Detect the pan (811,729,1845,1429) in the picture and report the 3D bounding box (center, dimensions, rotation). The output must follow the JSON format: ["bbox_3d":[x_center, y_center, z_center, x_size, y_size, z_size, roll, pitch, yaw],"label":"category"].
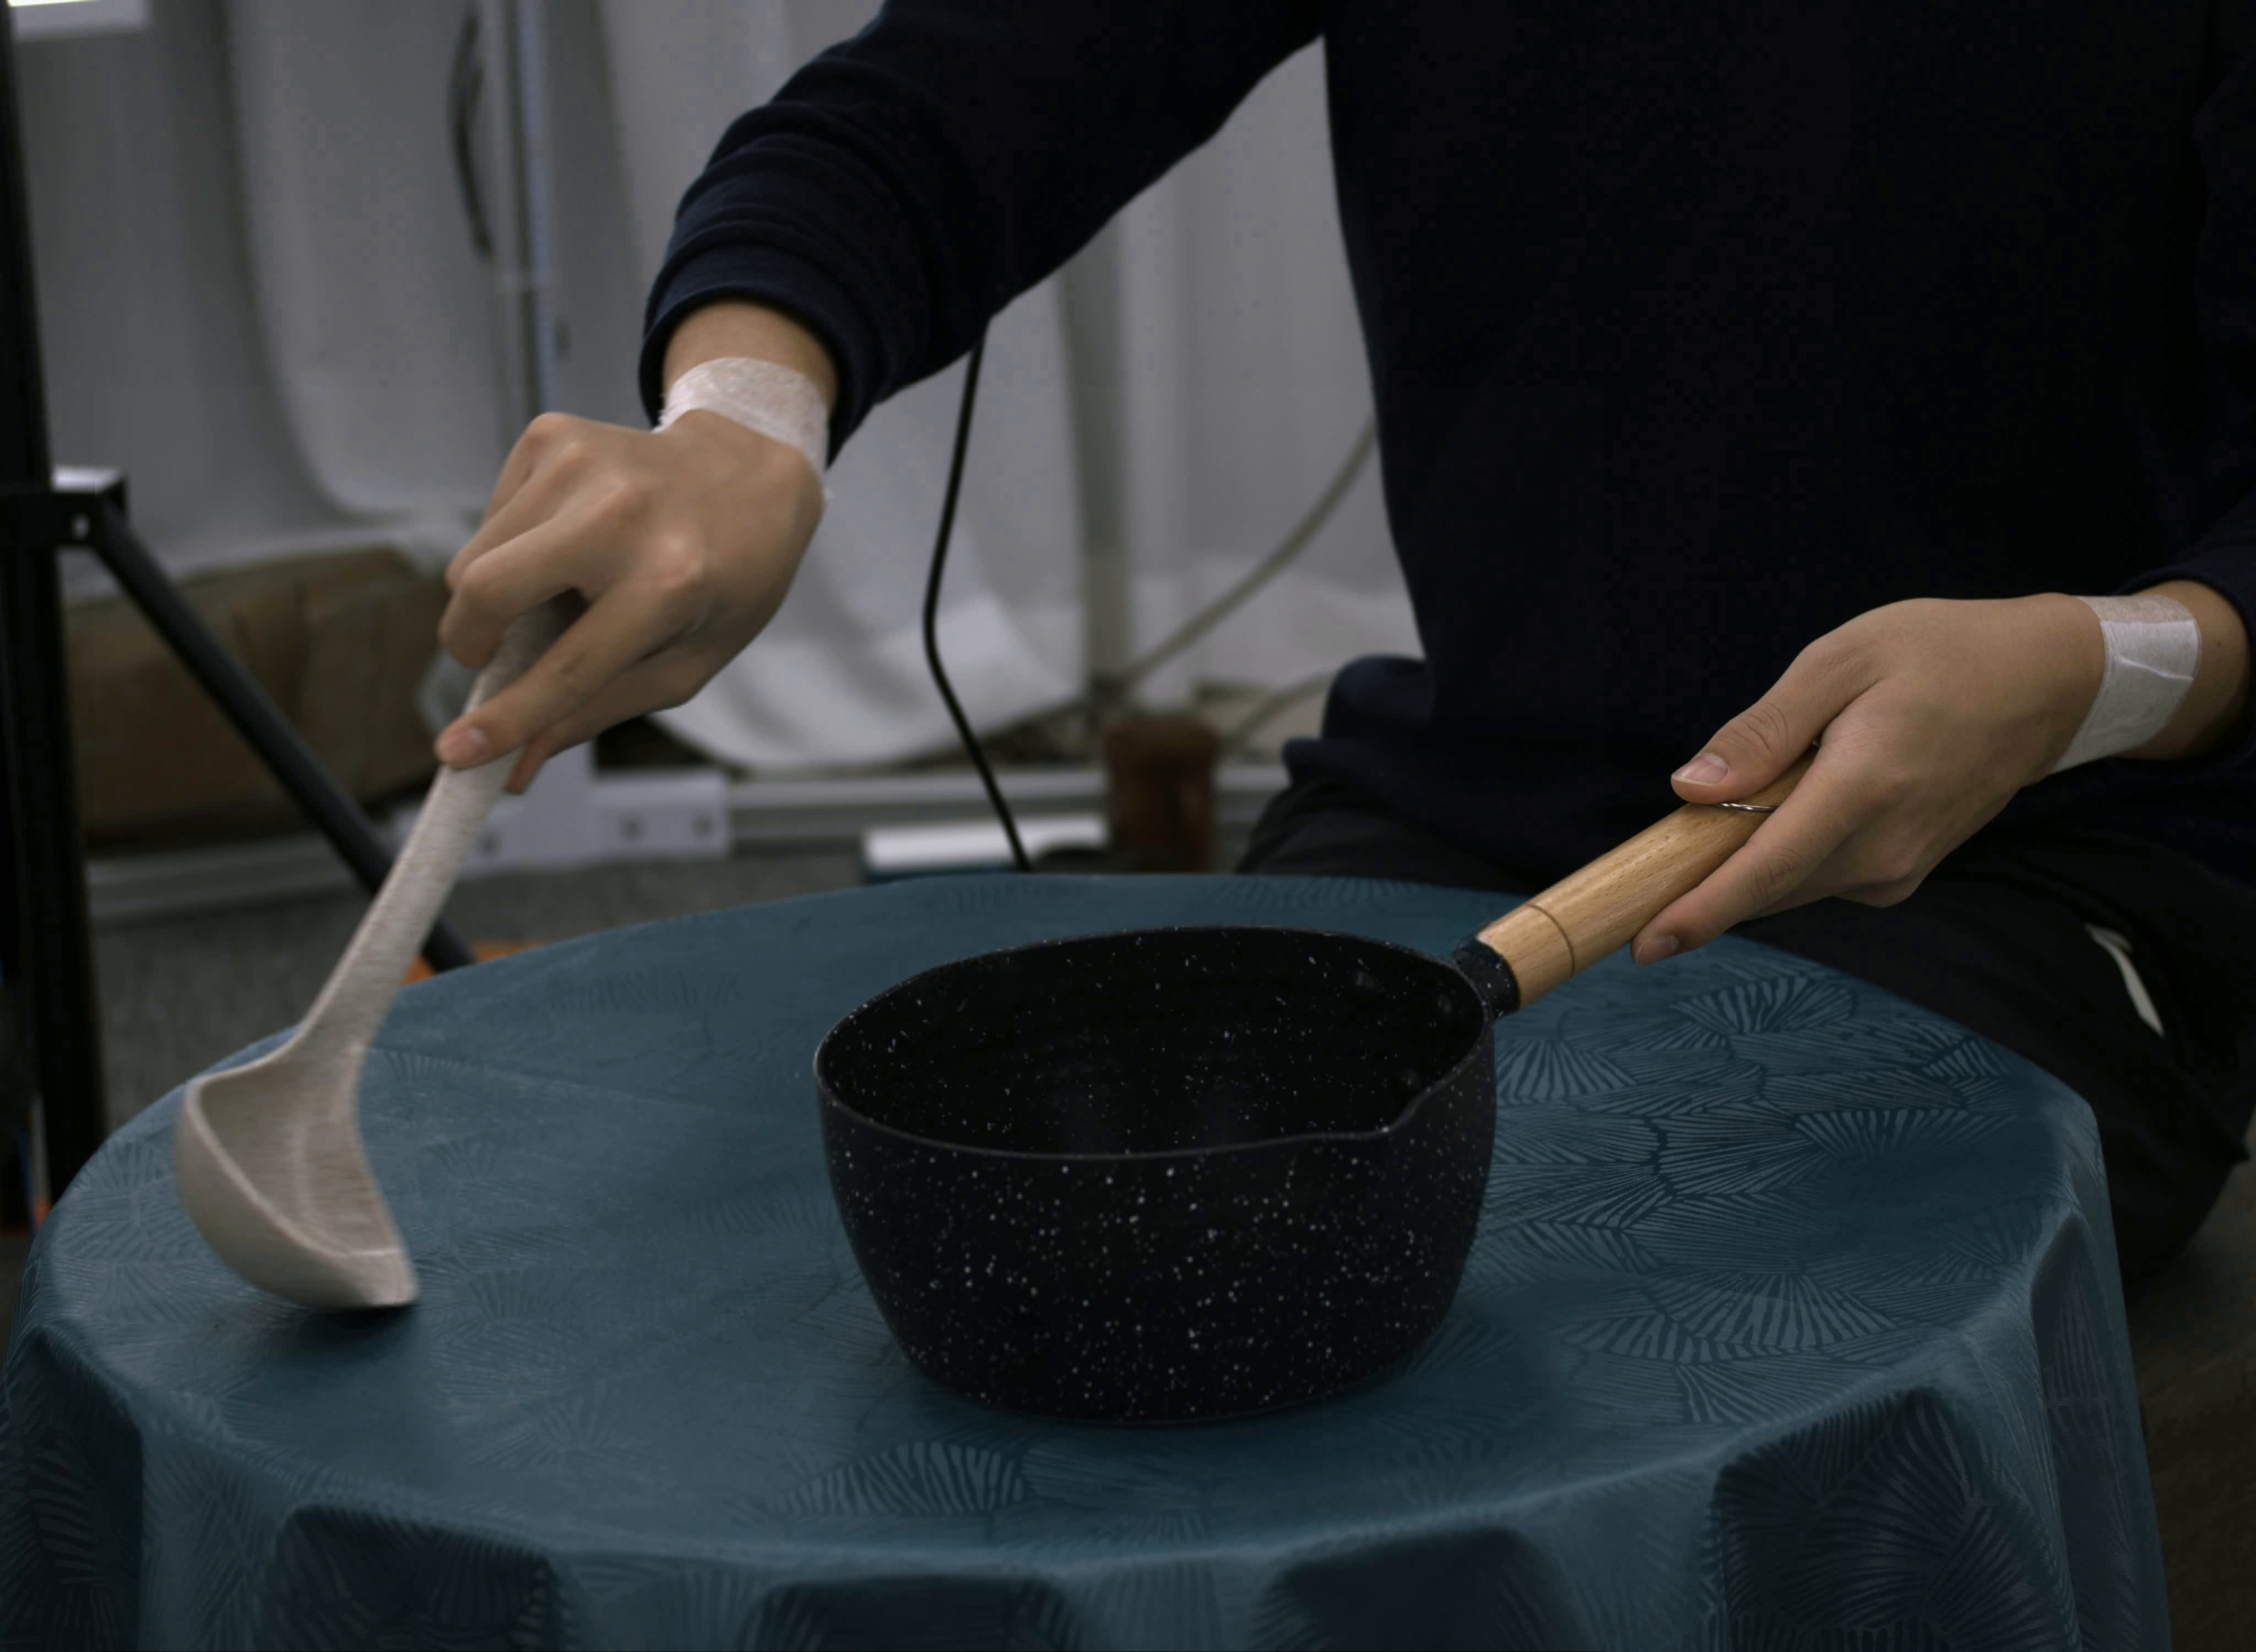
[{"bbox_3d":[0.071,0.065,1.476,0.335,0.108,0.212,-18,21,-33],"label":"pan"}]

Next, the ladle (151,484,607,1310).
[{"bbox_3d":[-0.194,0.012,1.533,0.071,0.087,0.275,-5,52,50],"label":"ladle"}]
